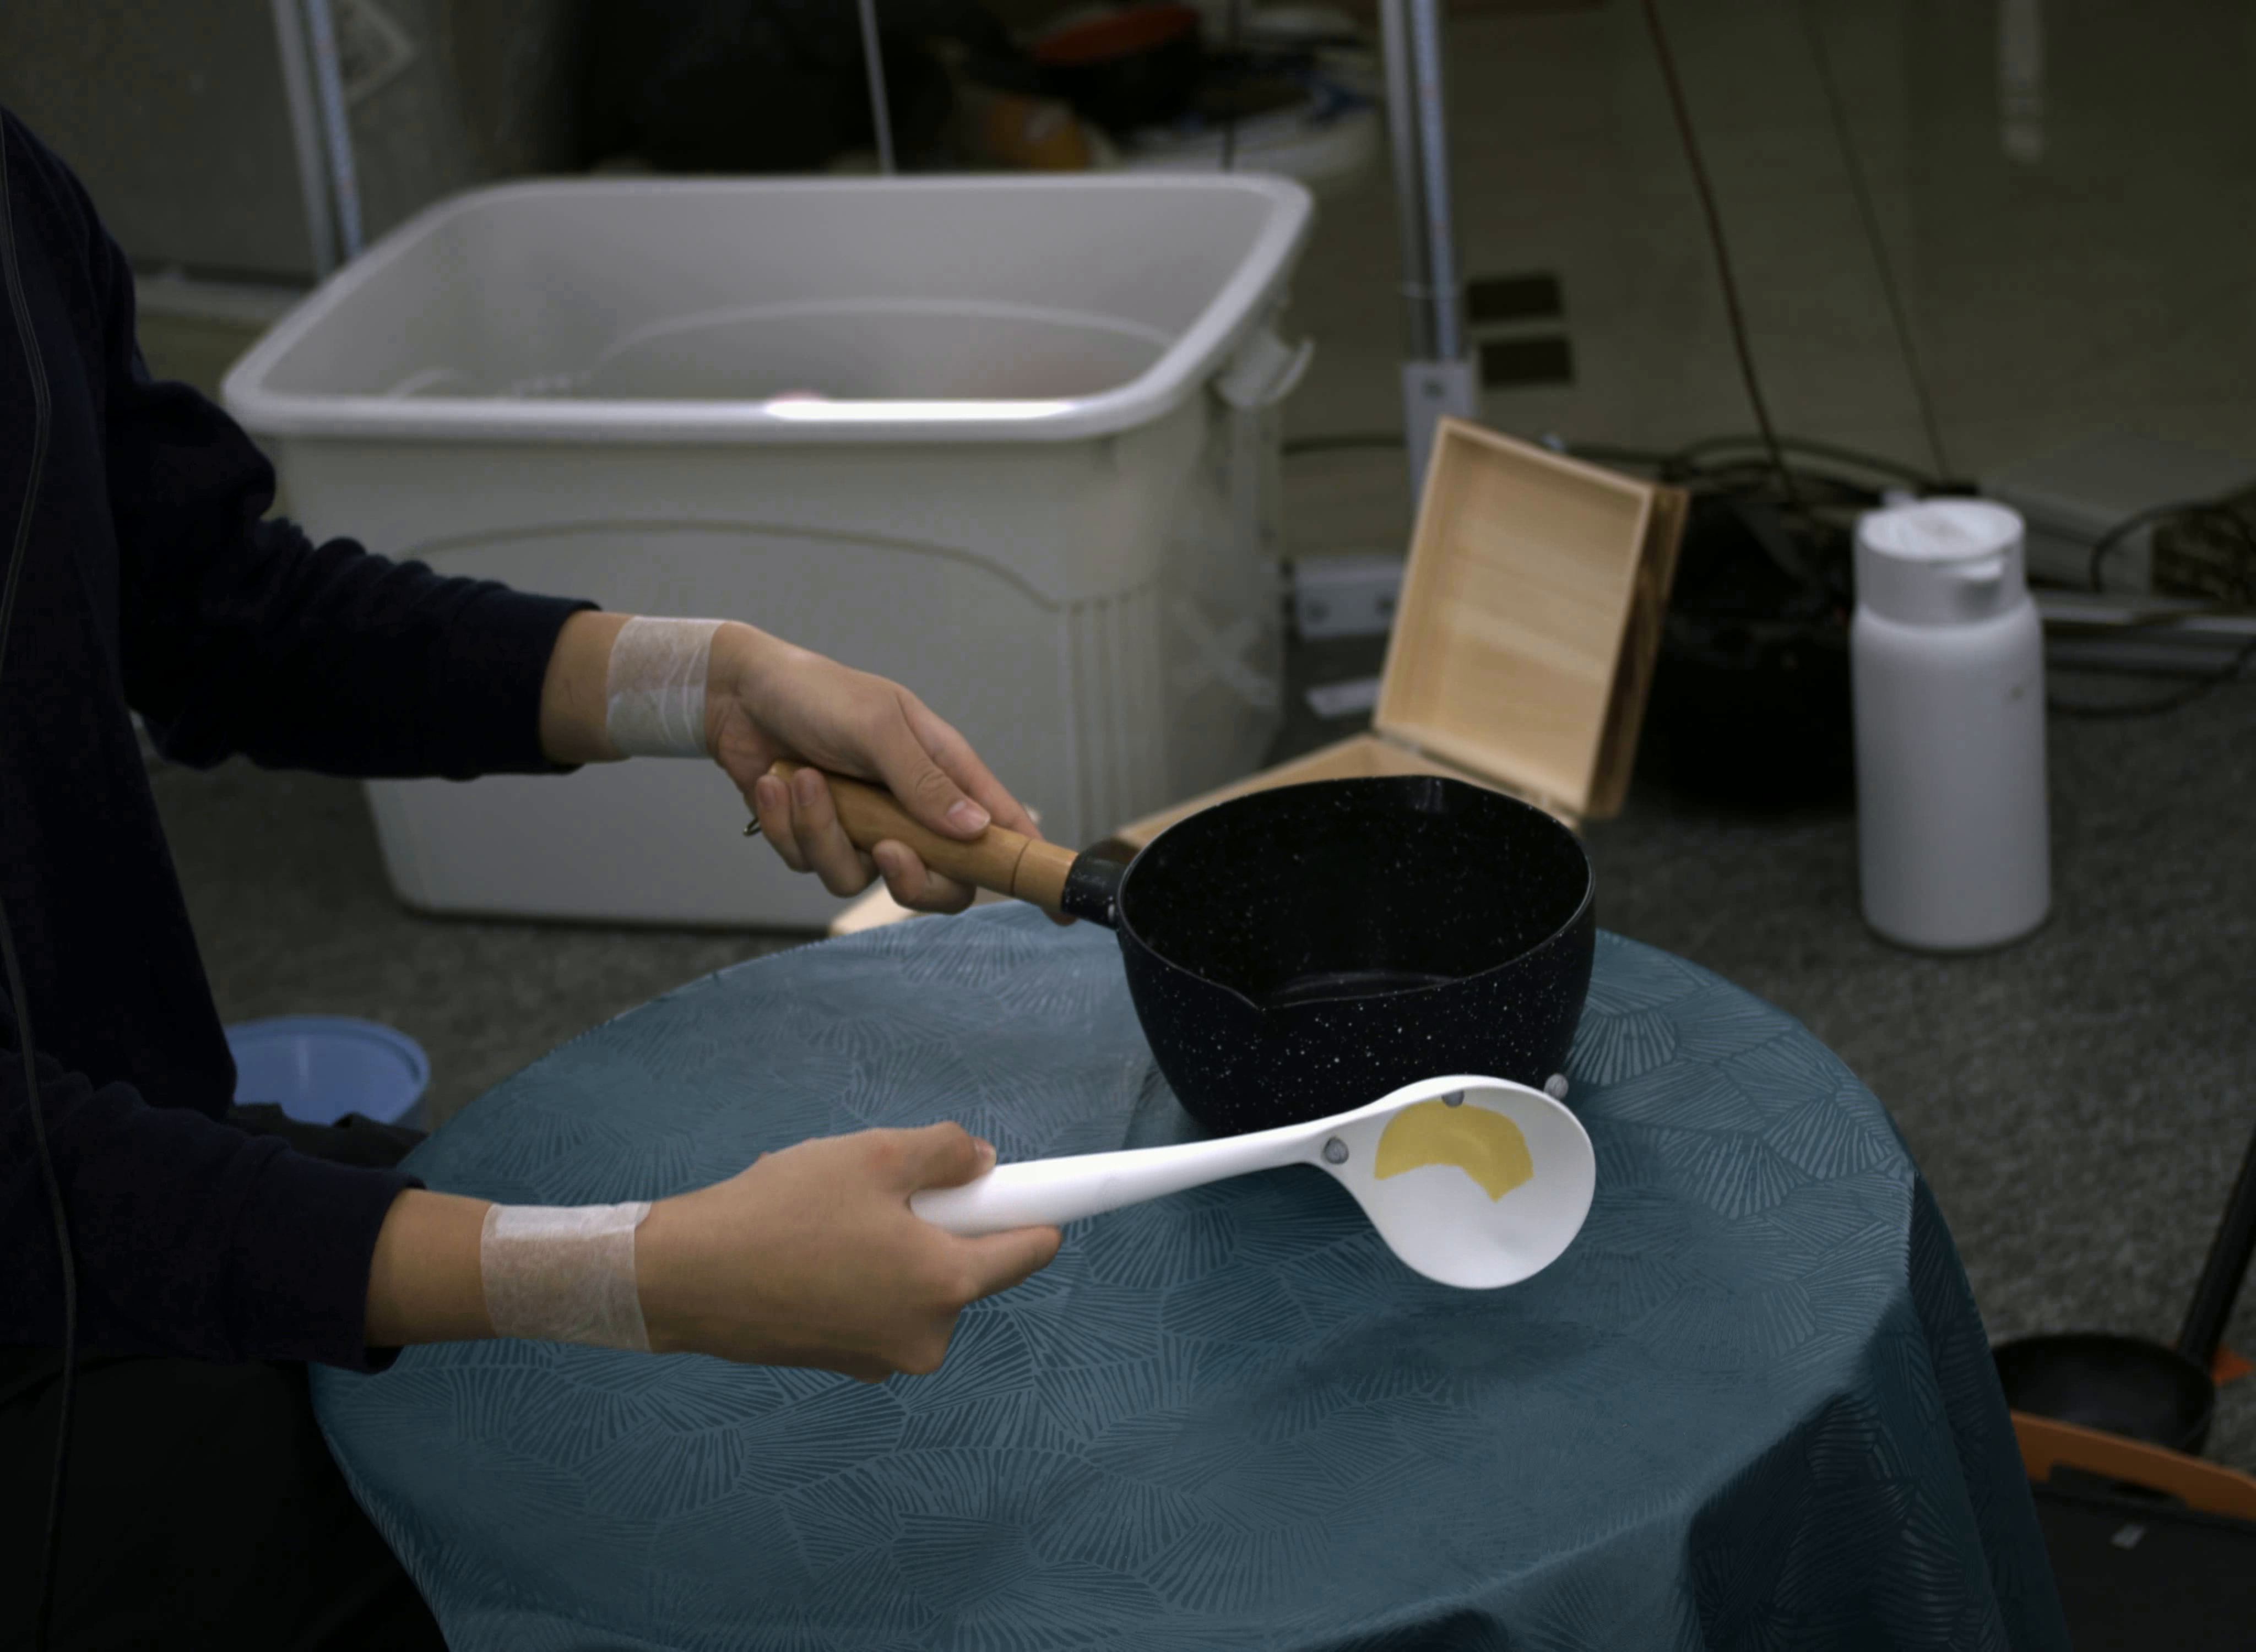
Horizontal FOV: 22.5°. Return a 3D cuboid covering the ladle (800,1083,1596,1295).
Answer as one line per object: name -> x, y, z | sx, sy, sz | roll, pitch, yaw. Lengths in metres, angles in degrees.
ladle -> 0.026, 0.128, 1.950 | 0.292, 0.091, 0.069 | -2, 43, -36

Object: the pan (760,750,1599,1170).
pan -> 0.015, 0.041, 2.210 | 0.341, 0.110, 0.204 | 7, 30, 19
